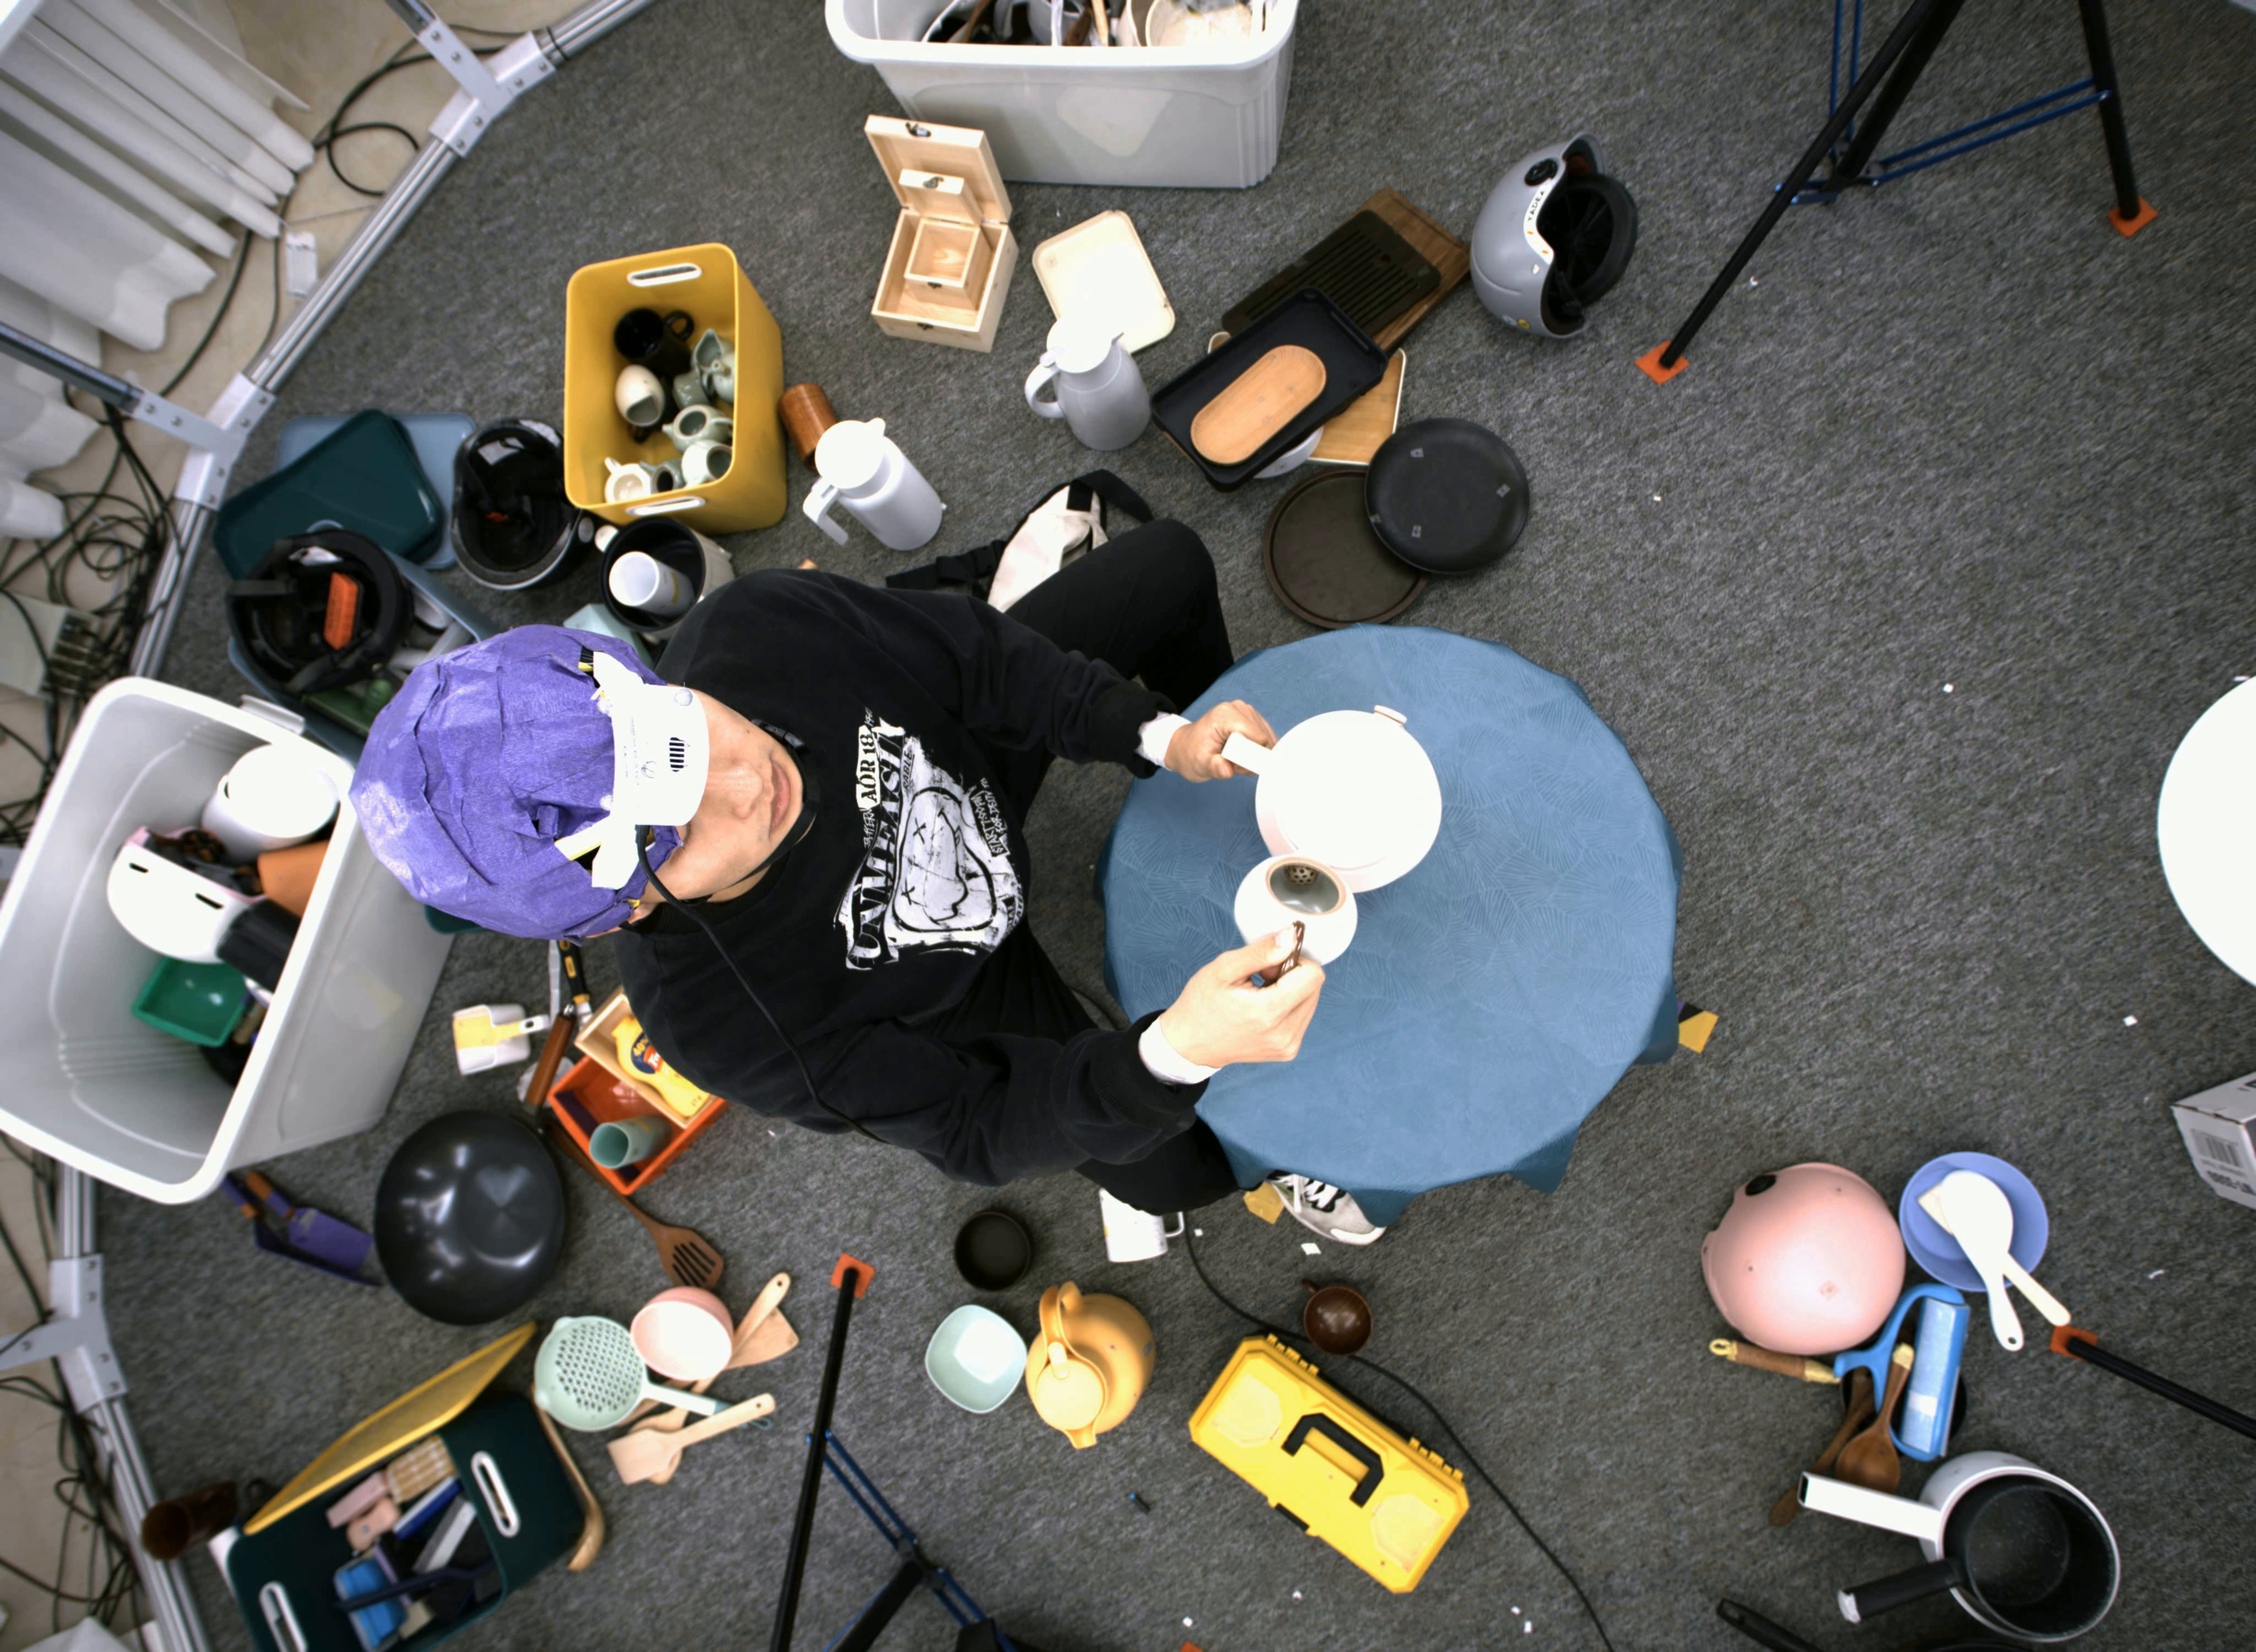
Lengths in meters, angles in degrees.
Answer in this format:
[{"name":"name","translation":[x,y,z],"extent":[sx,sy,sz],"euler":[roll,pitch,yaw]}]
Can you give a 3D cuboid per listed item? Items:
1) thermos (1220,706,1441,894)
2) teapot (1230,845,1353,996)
[{"name":"thermos","translation":[0.190,-0.031,1.272],"extent":[0.207,0.403,0.176],"euler":[25,97,8]},{"name":"teapot","translation":[0.120,0.072,1.022],"extent":[0.092,0.124,0.061],"euler":[17,132,-2]}]
